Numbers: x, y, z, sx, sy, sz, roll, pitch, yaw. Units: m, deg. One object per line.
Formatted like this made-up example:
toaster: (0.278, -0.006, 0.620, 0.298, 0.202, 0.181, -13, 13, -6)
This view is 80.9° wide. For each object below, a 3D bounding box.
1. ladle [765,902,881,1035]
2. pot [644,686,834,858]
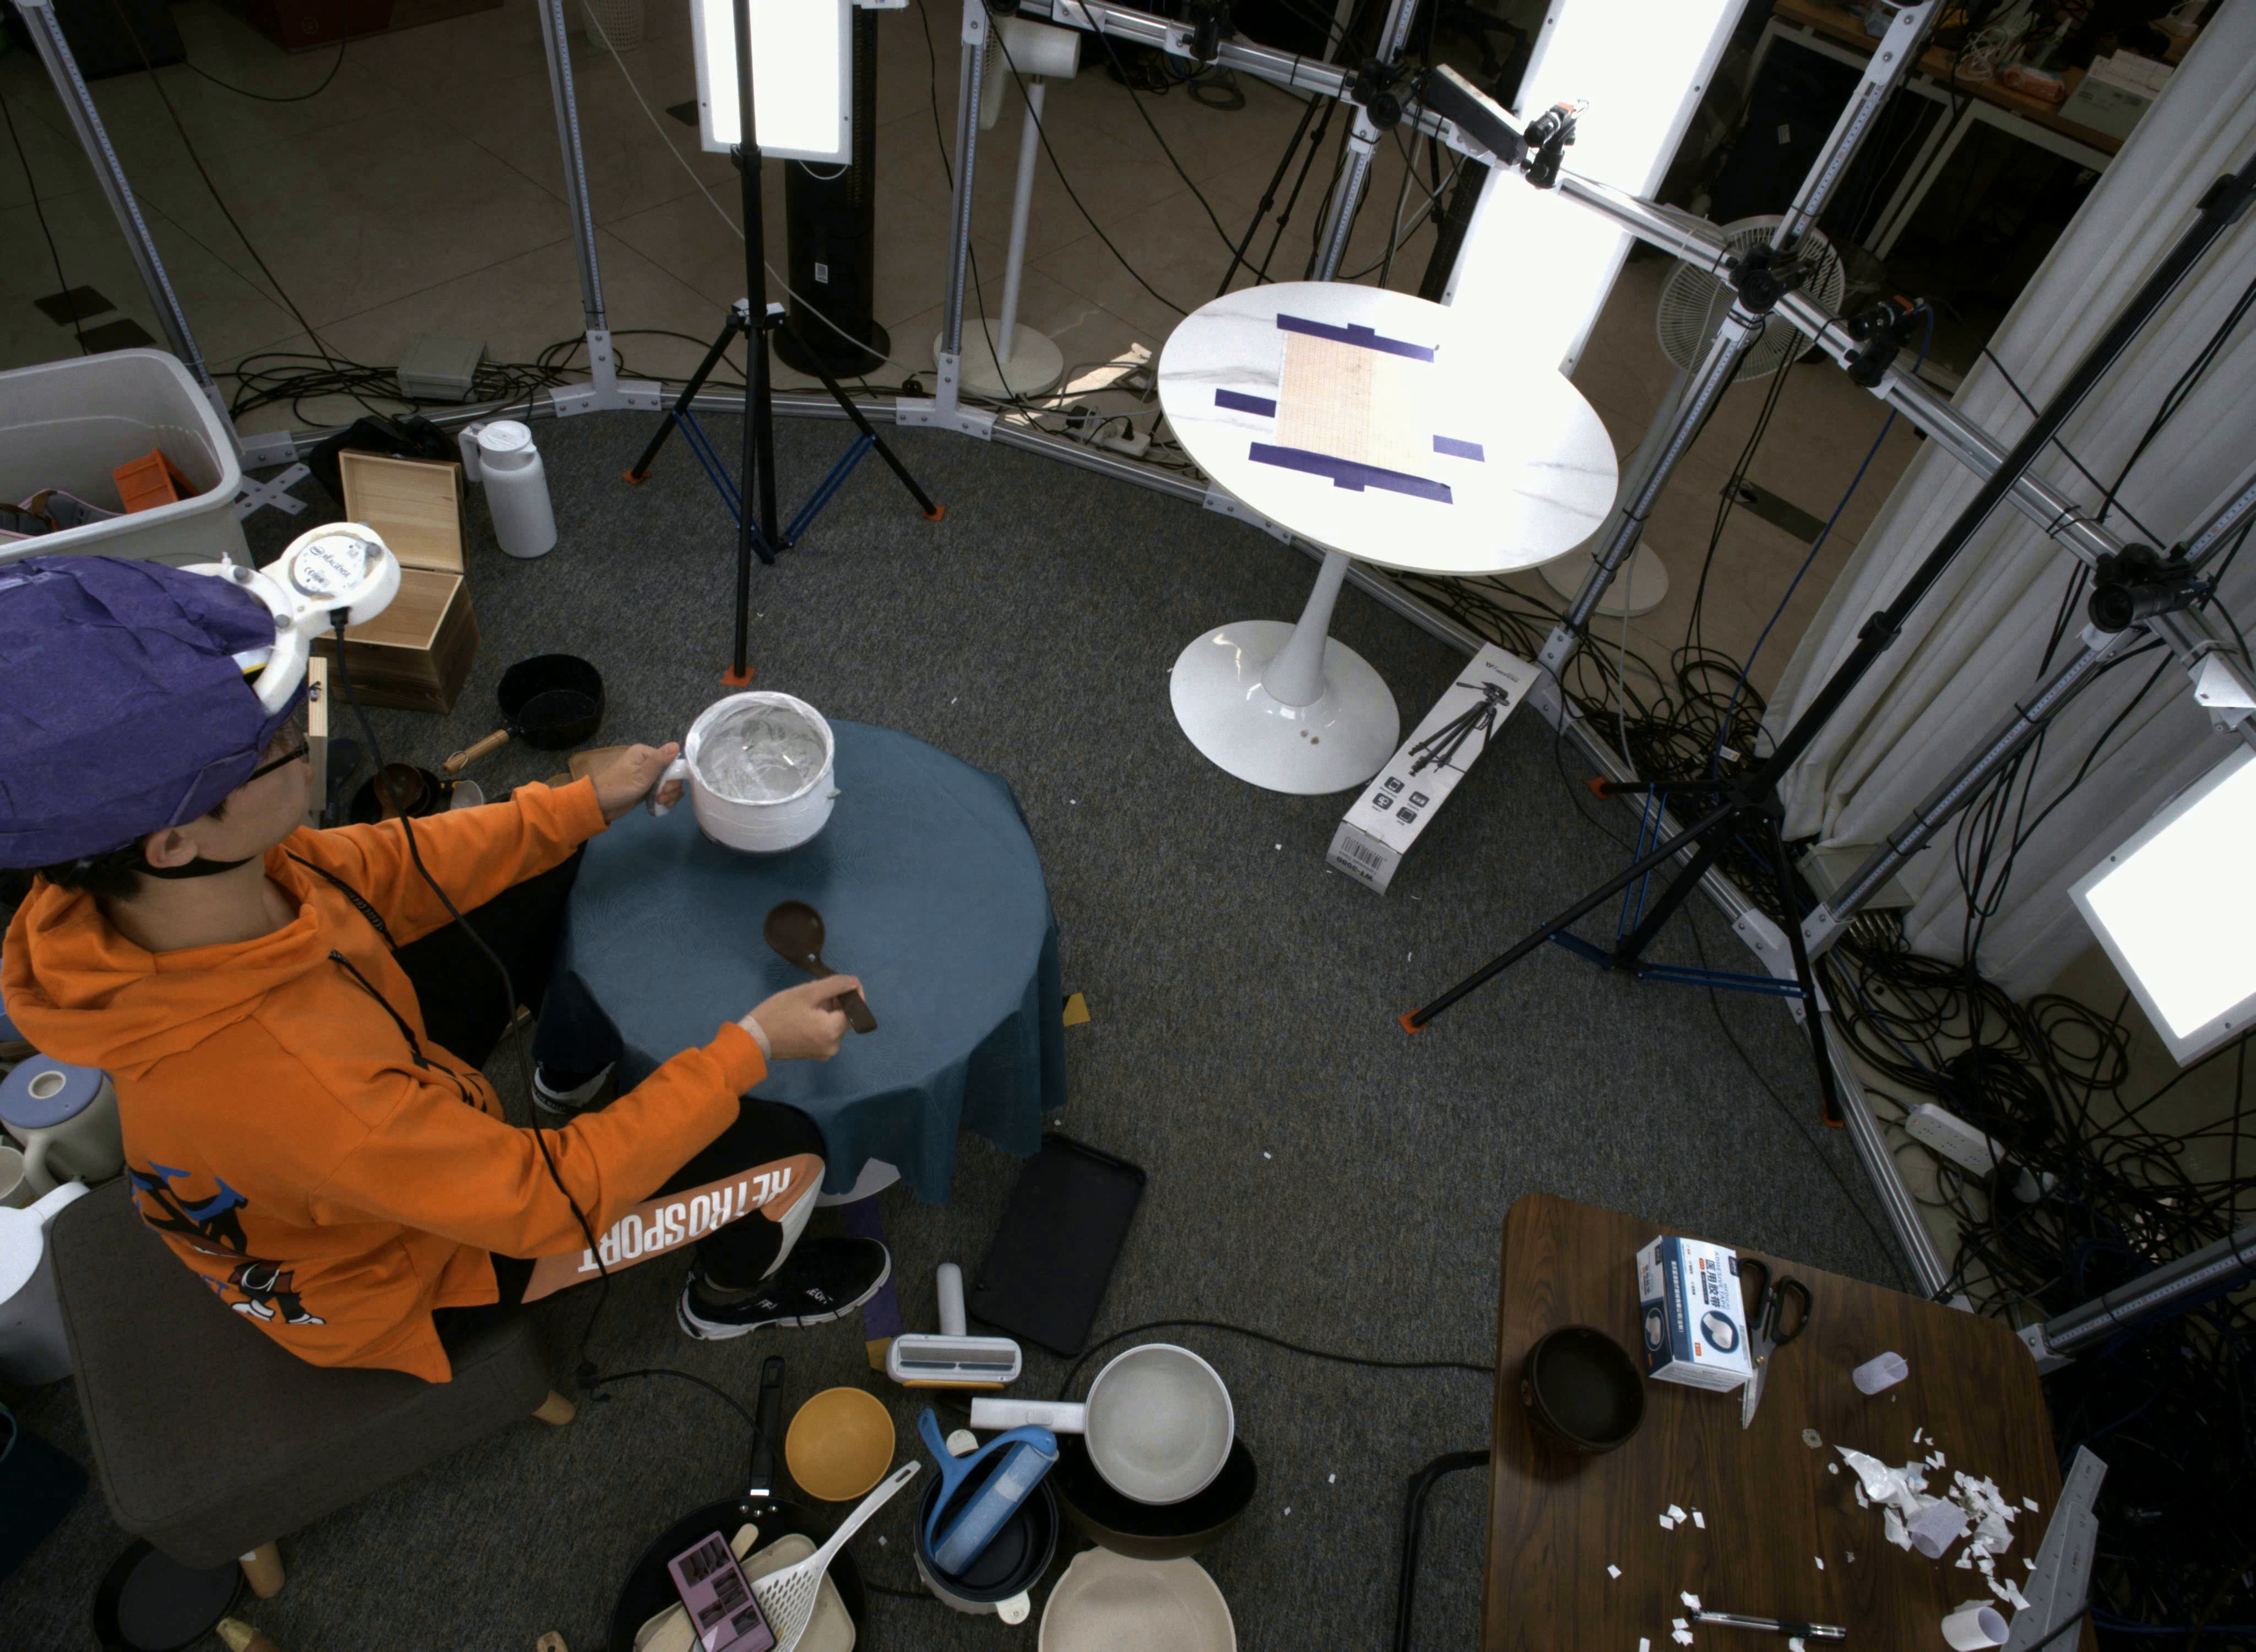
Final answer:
ladle: (-0.342, 0.152, 1.468, 0.077, 0.073, 0.264, -13, 20, -29)
pot: (-0.480, -0.060, 1.590, 0.234, 0.139, 0.174, -6, 56, -18)
